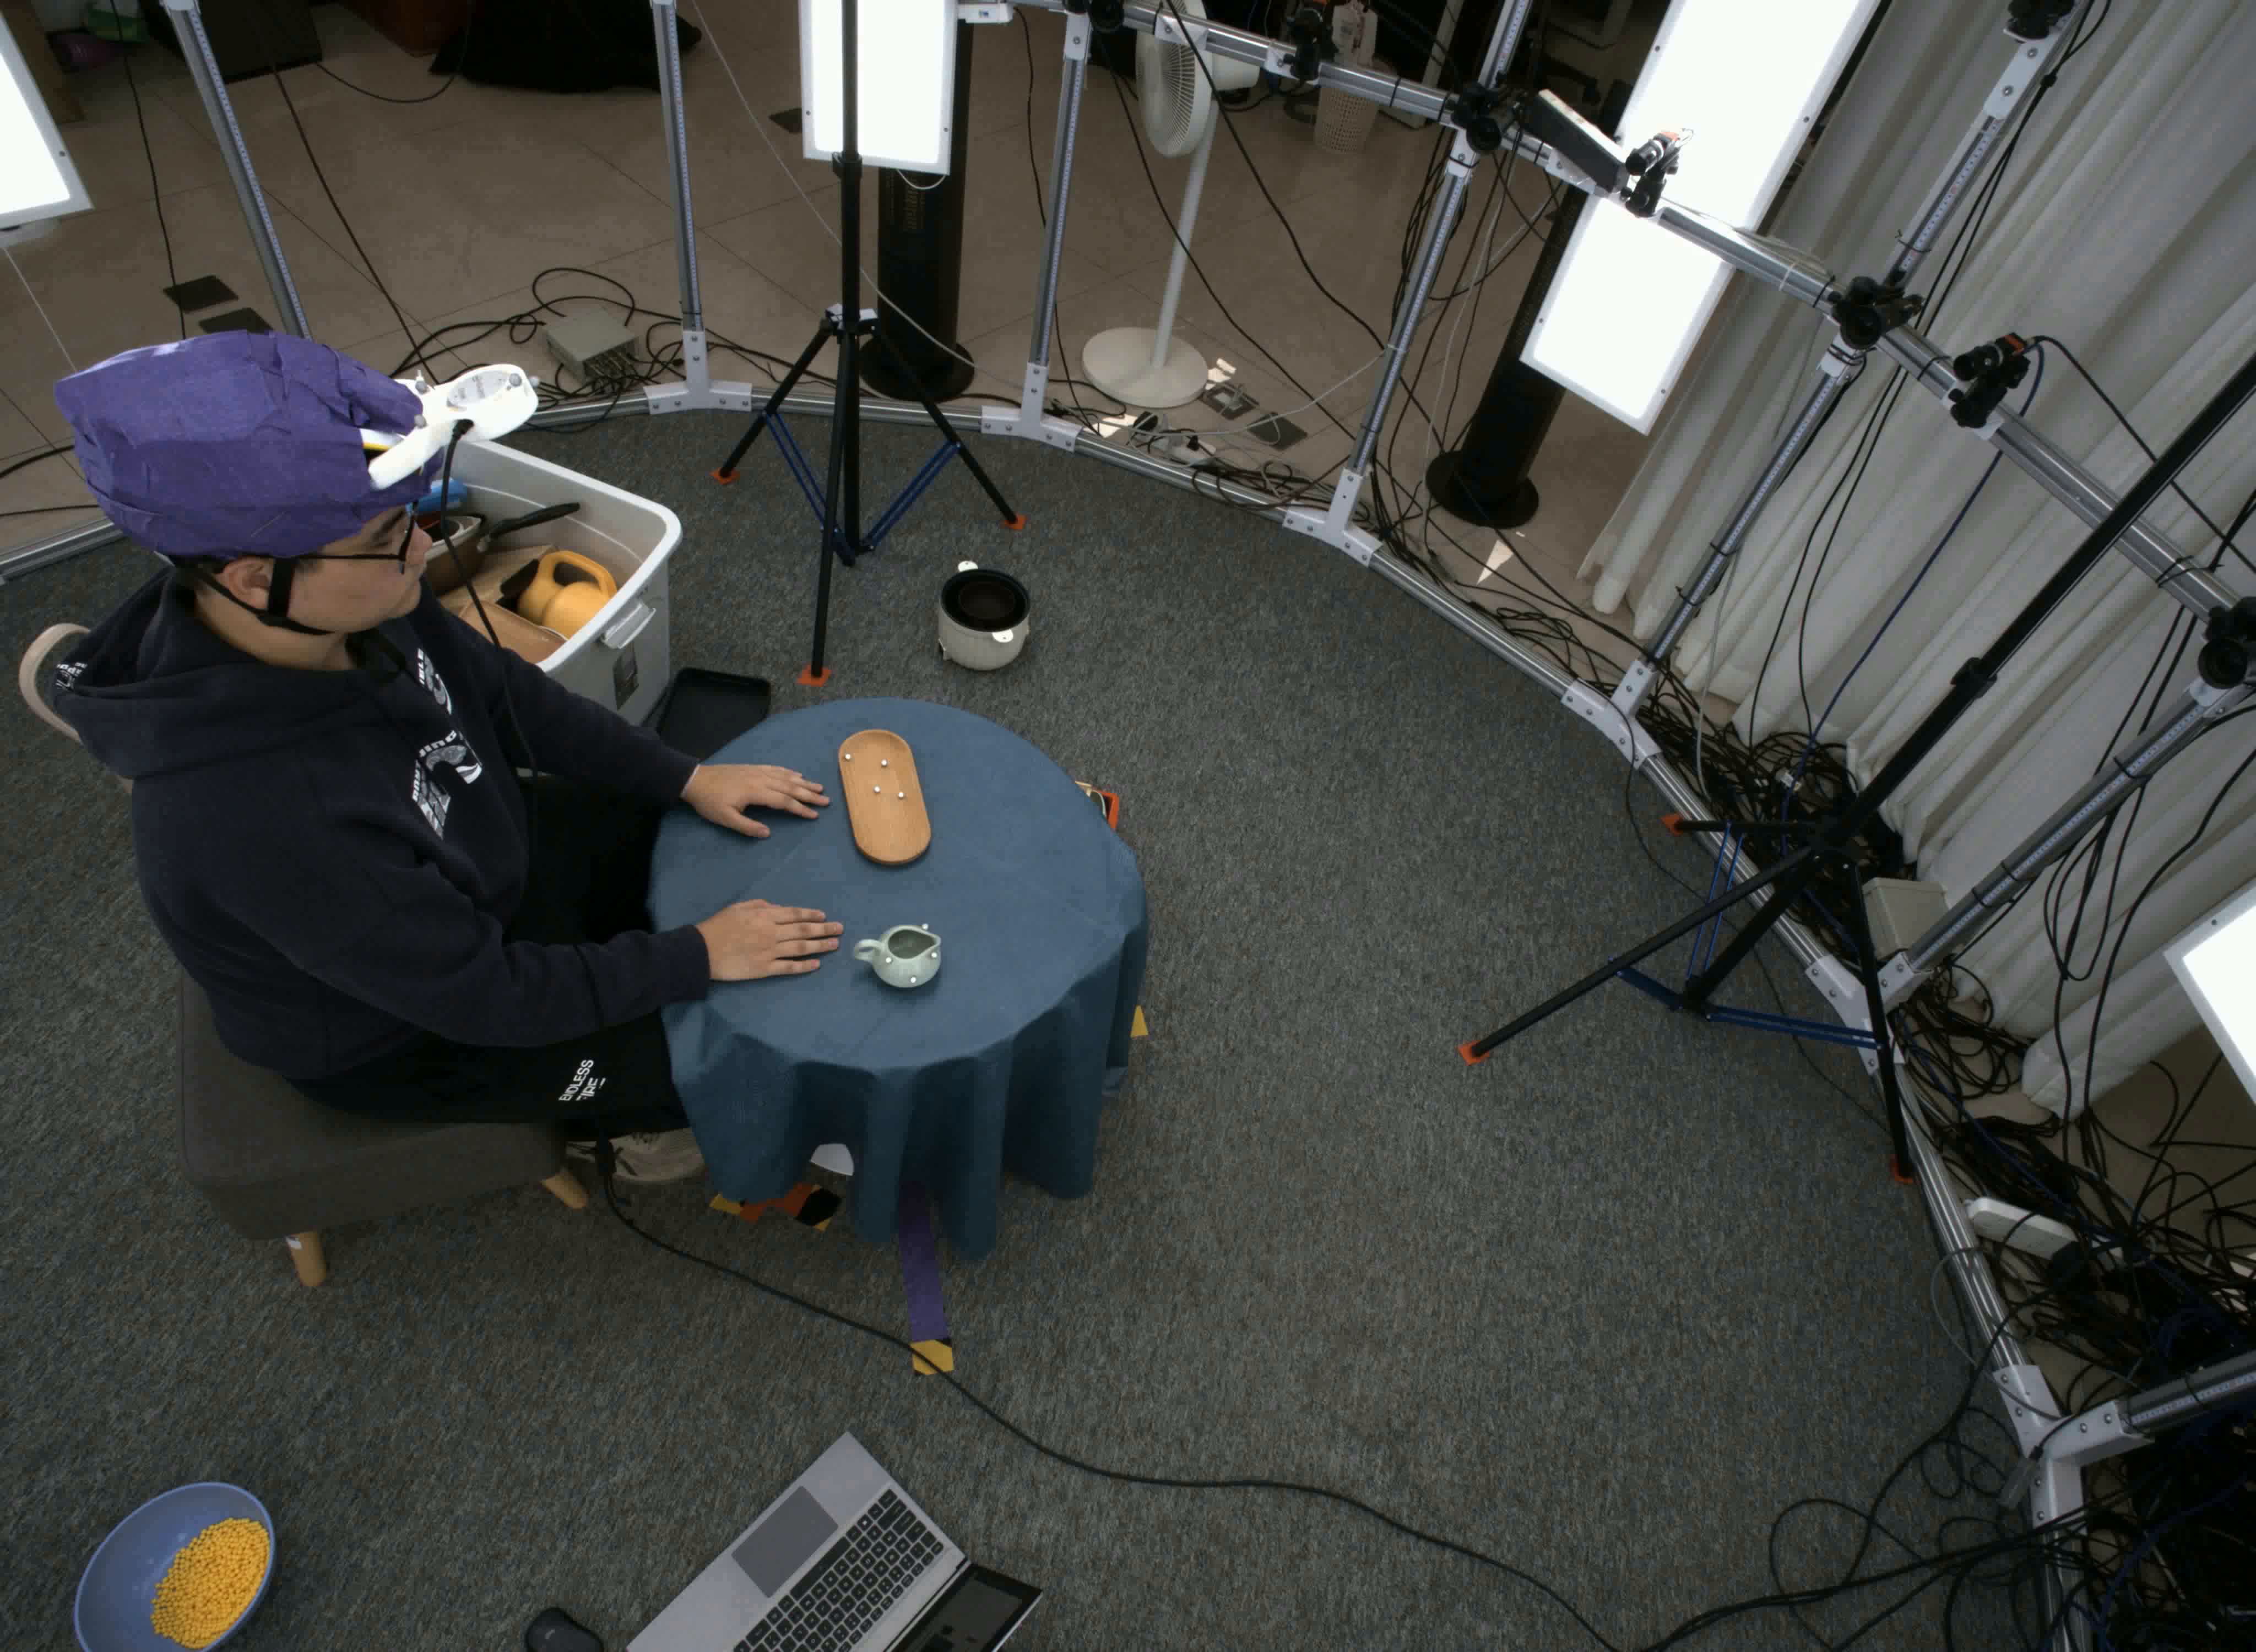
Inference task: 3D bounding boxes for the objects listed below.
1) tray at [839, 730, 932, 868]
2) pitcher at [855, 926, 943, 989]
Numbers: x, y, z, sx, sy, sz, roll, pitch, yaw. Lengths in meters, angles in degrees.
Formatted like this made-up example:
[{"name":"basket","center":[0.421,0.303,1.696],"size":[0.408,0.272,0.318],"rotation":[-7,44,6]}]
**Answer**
[{"name":"tray","center":[-0.331,-0.039,1.763],"size":[0.102,0.021,0.226],"rotation":[-9,59,-18]},{"name":"pitcher","center":[-0.282,0.157,1.602],"size":[0.108,0.062,0.084],"rotation":[-5,53,-14]}]
